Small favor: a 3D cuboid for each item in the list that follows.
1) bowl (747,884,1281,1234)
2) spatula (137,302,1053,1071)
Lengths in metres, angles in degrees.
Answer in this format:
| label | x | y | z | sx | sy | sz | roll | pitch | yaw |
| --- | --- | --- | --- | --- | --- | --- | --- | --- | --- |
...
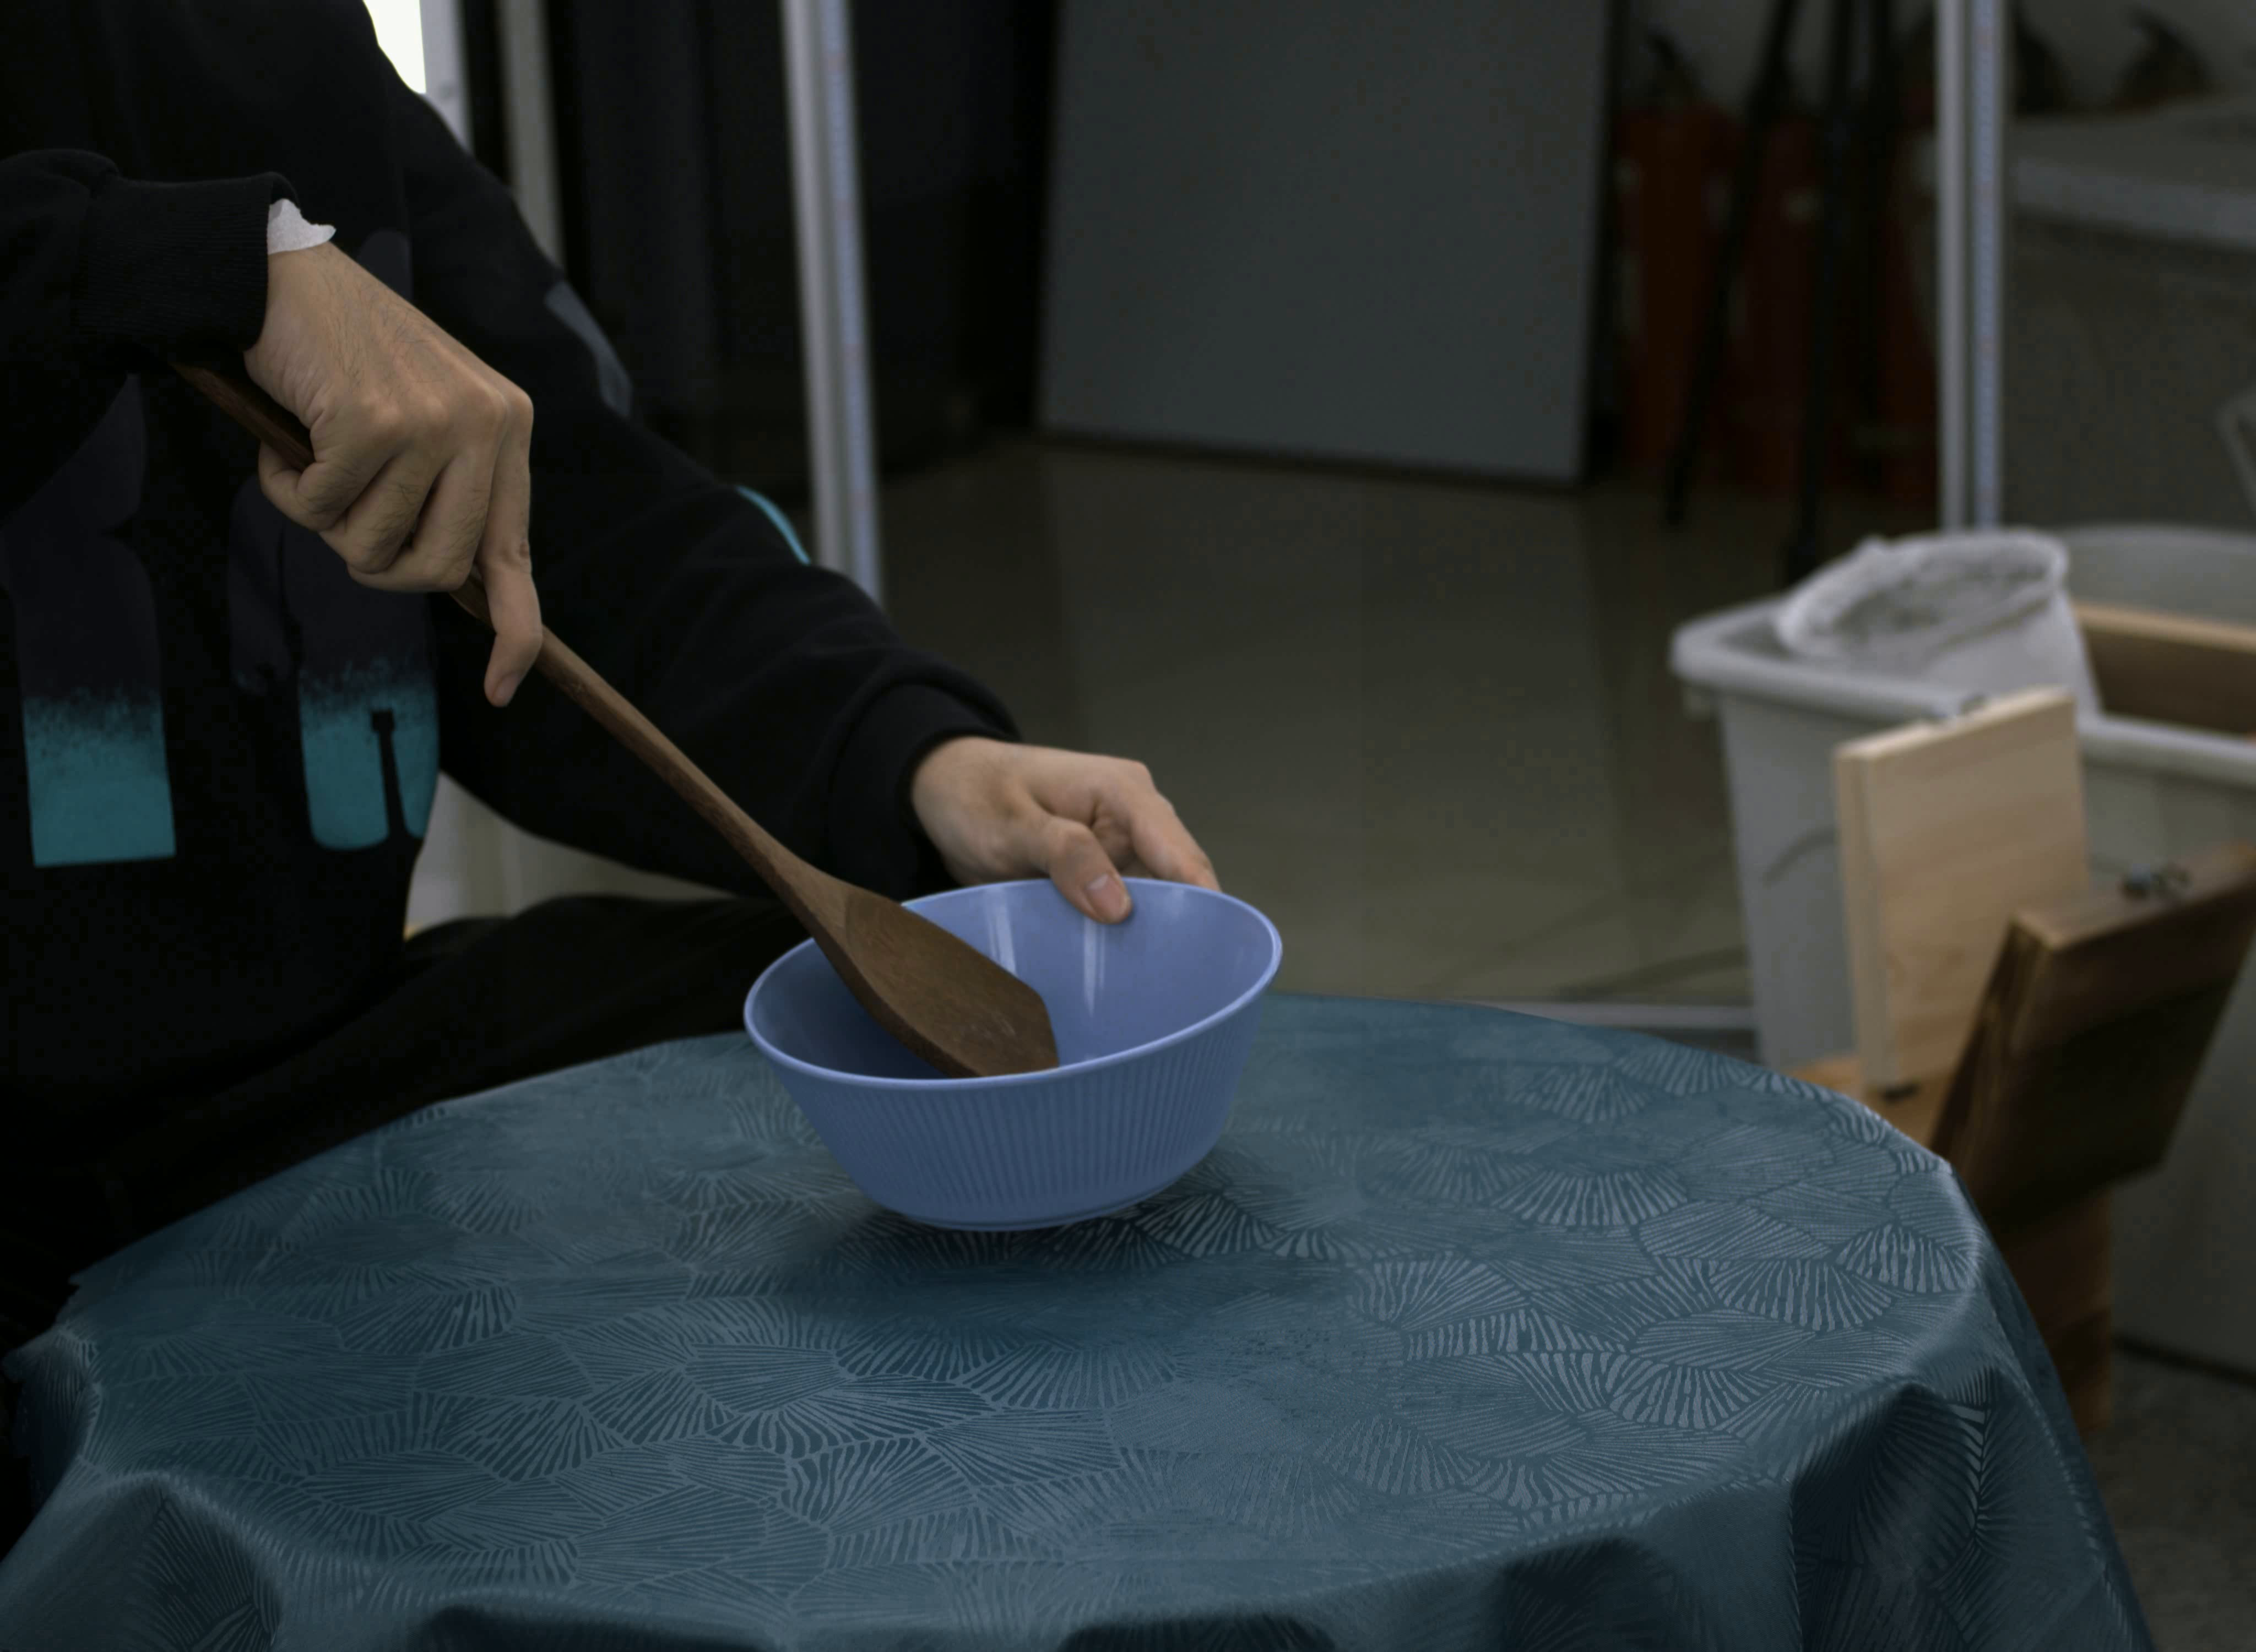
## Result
| label | x | y | z | sx | sy | sz | roll | pitch | yaw |
| --- | --- | --- | --- | --- | --- | --- | --- | --- | --- |
| bowl | -0.032 | 0.079 | 1.741 | 0.174 | 0.071 | 0.176 | -8 | 17 | 2 |
| spatula | -0.164 | -0.038 | 1.724 | 0.016 | 0.383 | 0.096 | -44 | 12 | 17 |
